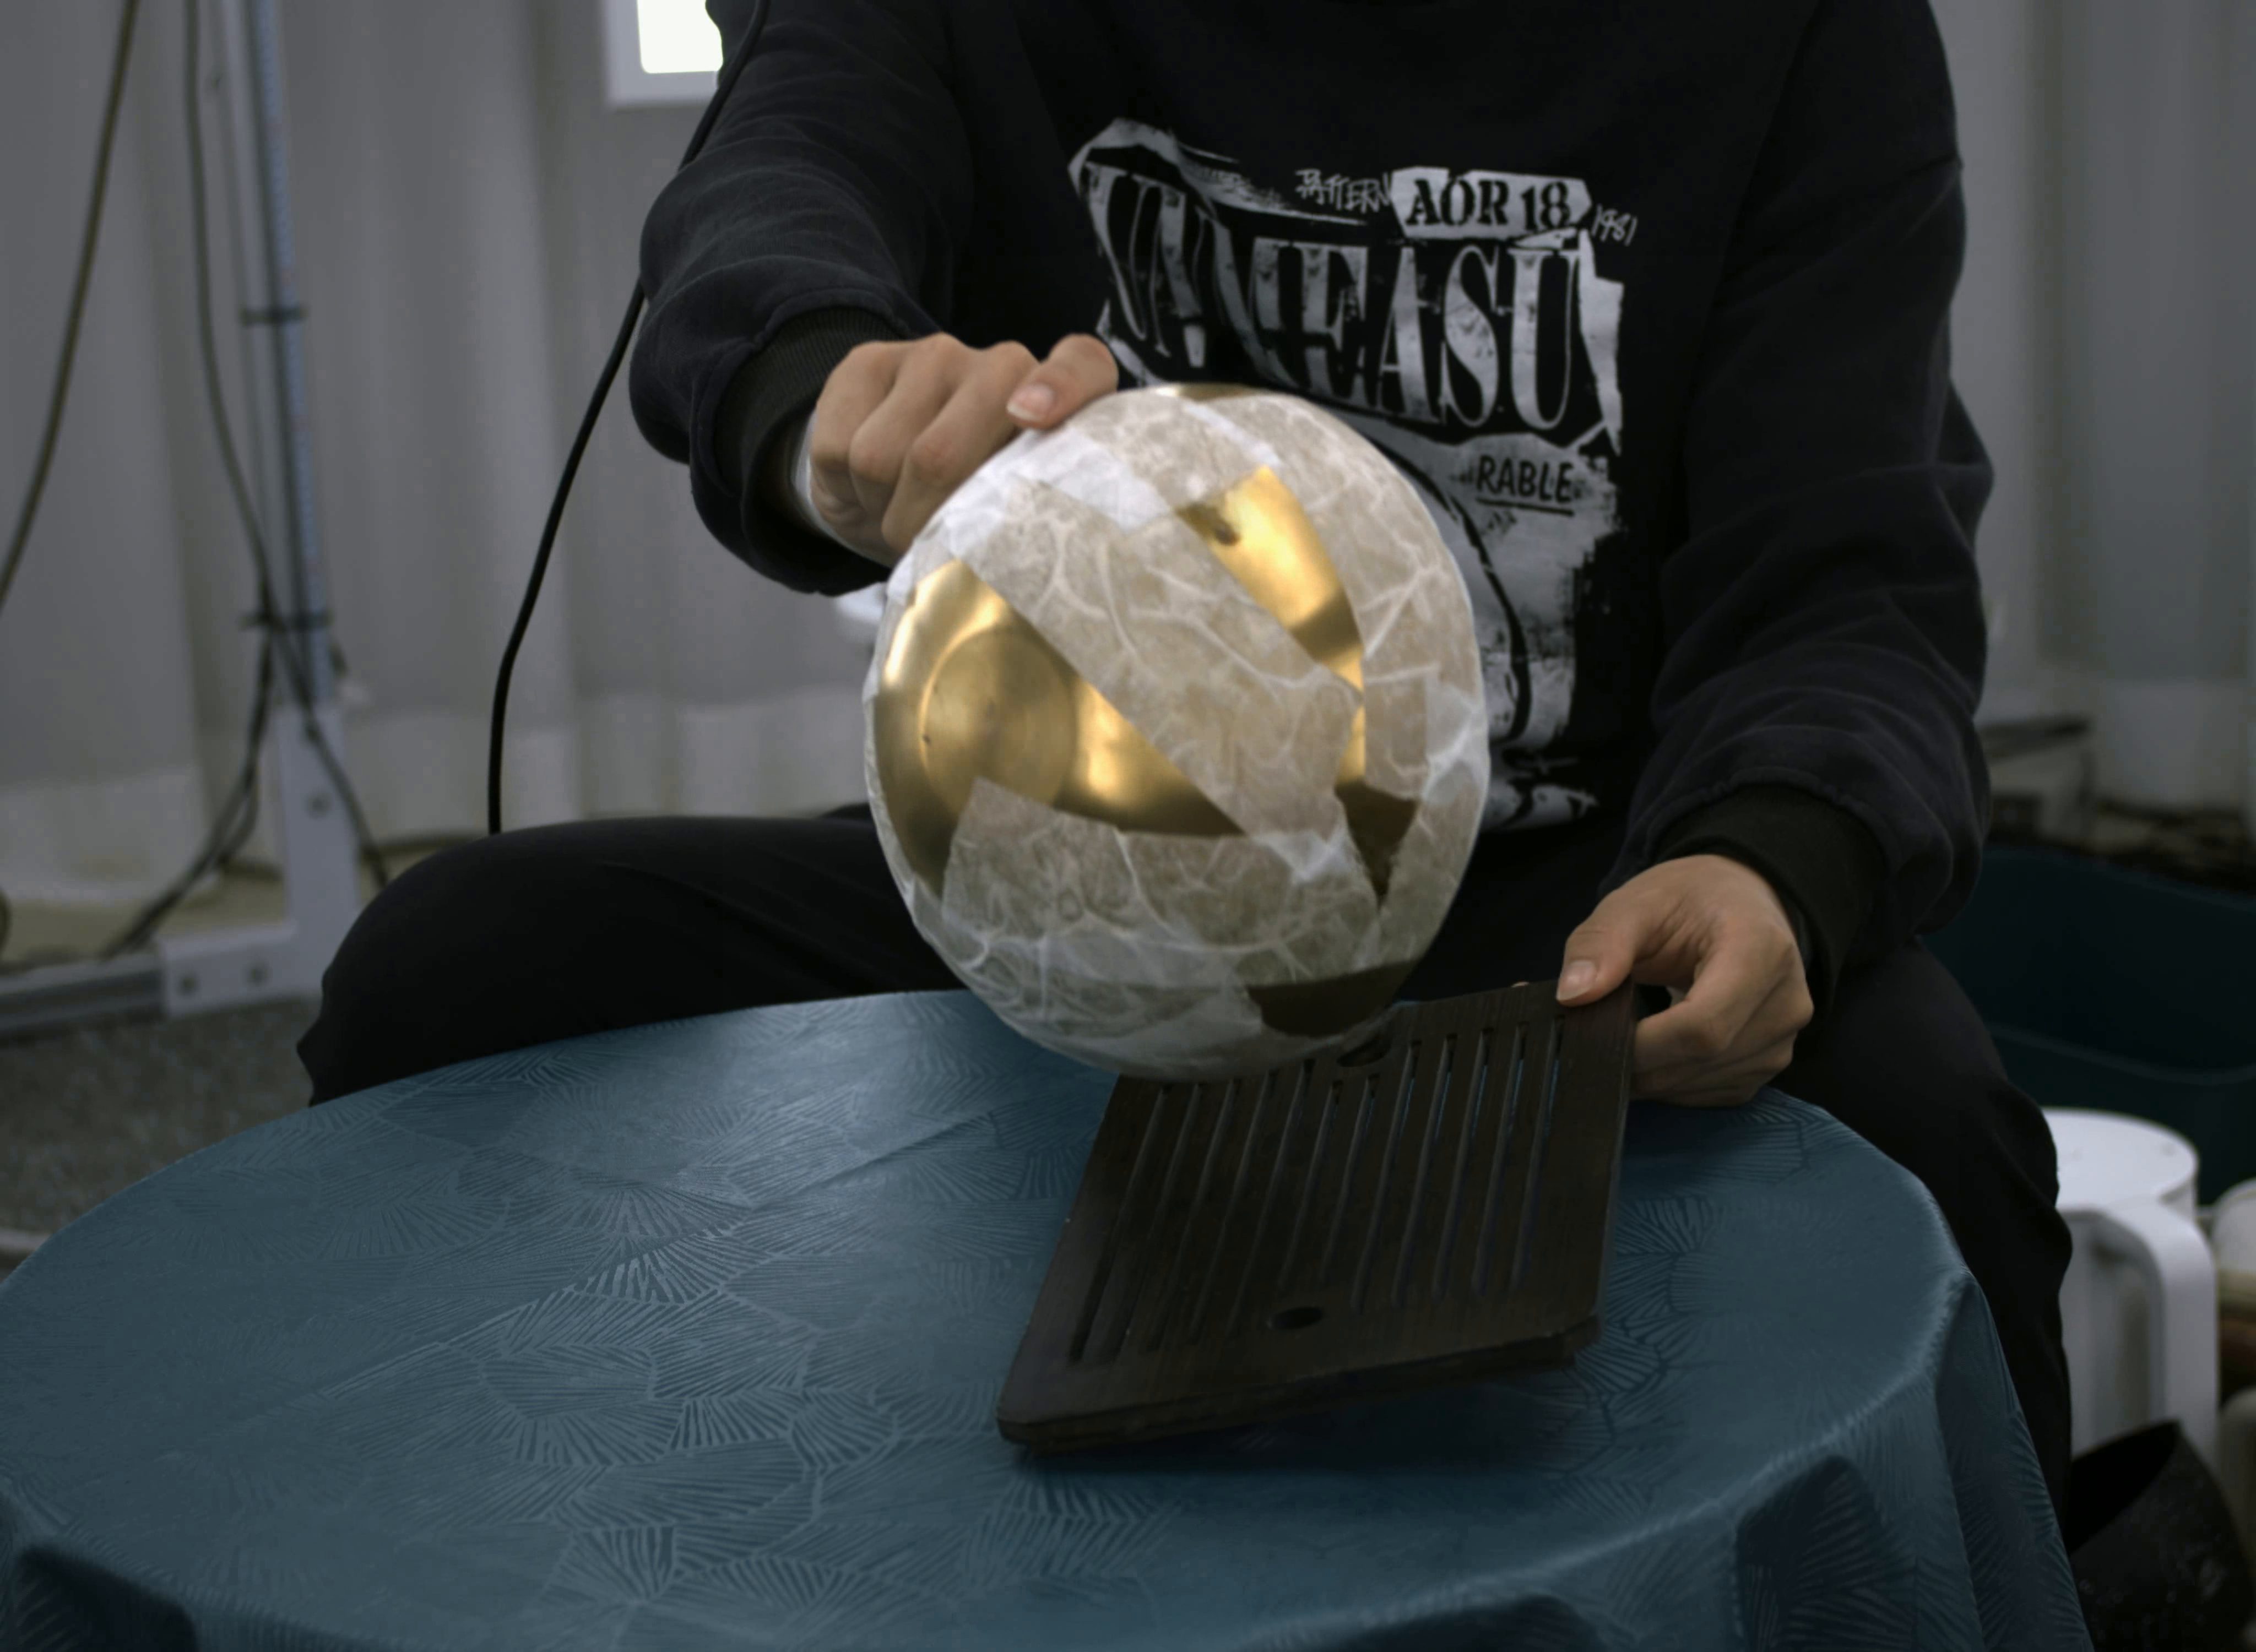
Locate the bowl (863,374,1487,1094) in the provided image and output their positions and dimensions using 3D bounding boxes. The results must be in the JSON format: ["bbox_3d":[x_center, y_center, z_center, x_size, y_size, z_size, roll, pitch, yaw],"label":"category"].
[{"bbox_3d":[-0.008,-0.025,1.532,0.216,0.215,0.094,11,8,42],"label":"bowl"}]

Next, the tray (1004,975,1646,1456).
[{"bbox_3d":[0.066,0.112,1.612,0.170,0.018,0.308,-10,15,10],"label":"tray"}]
